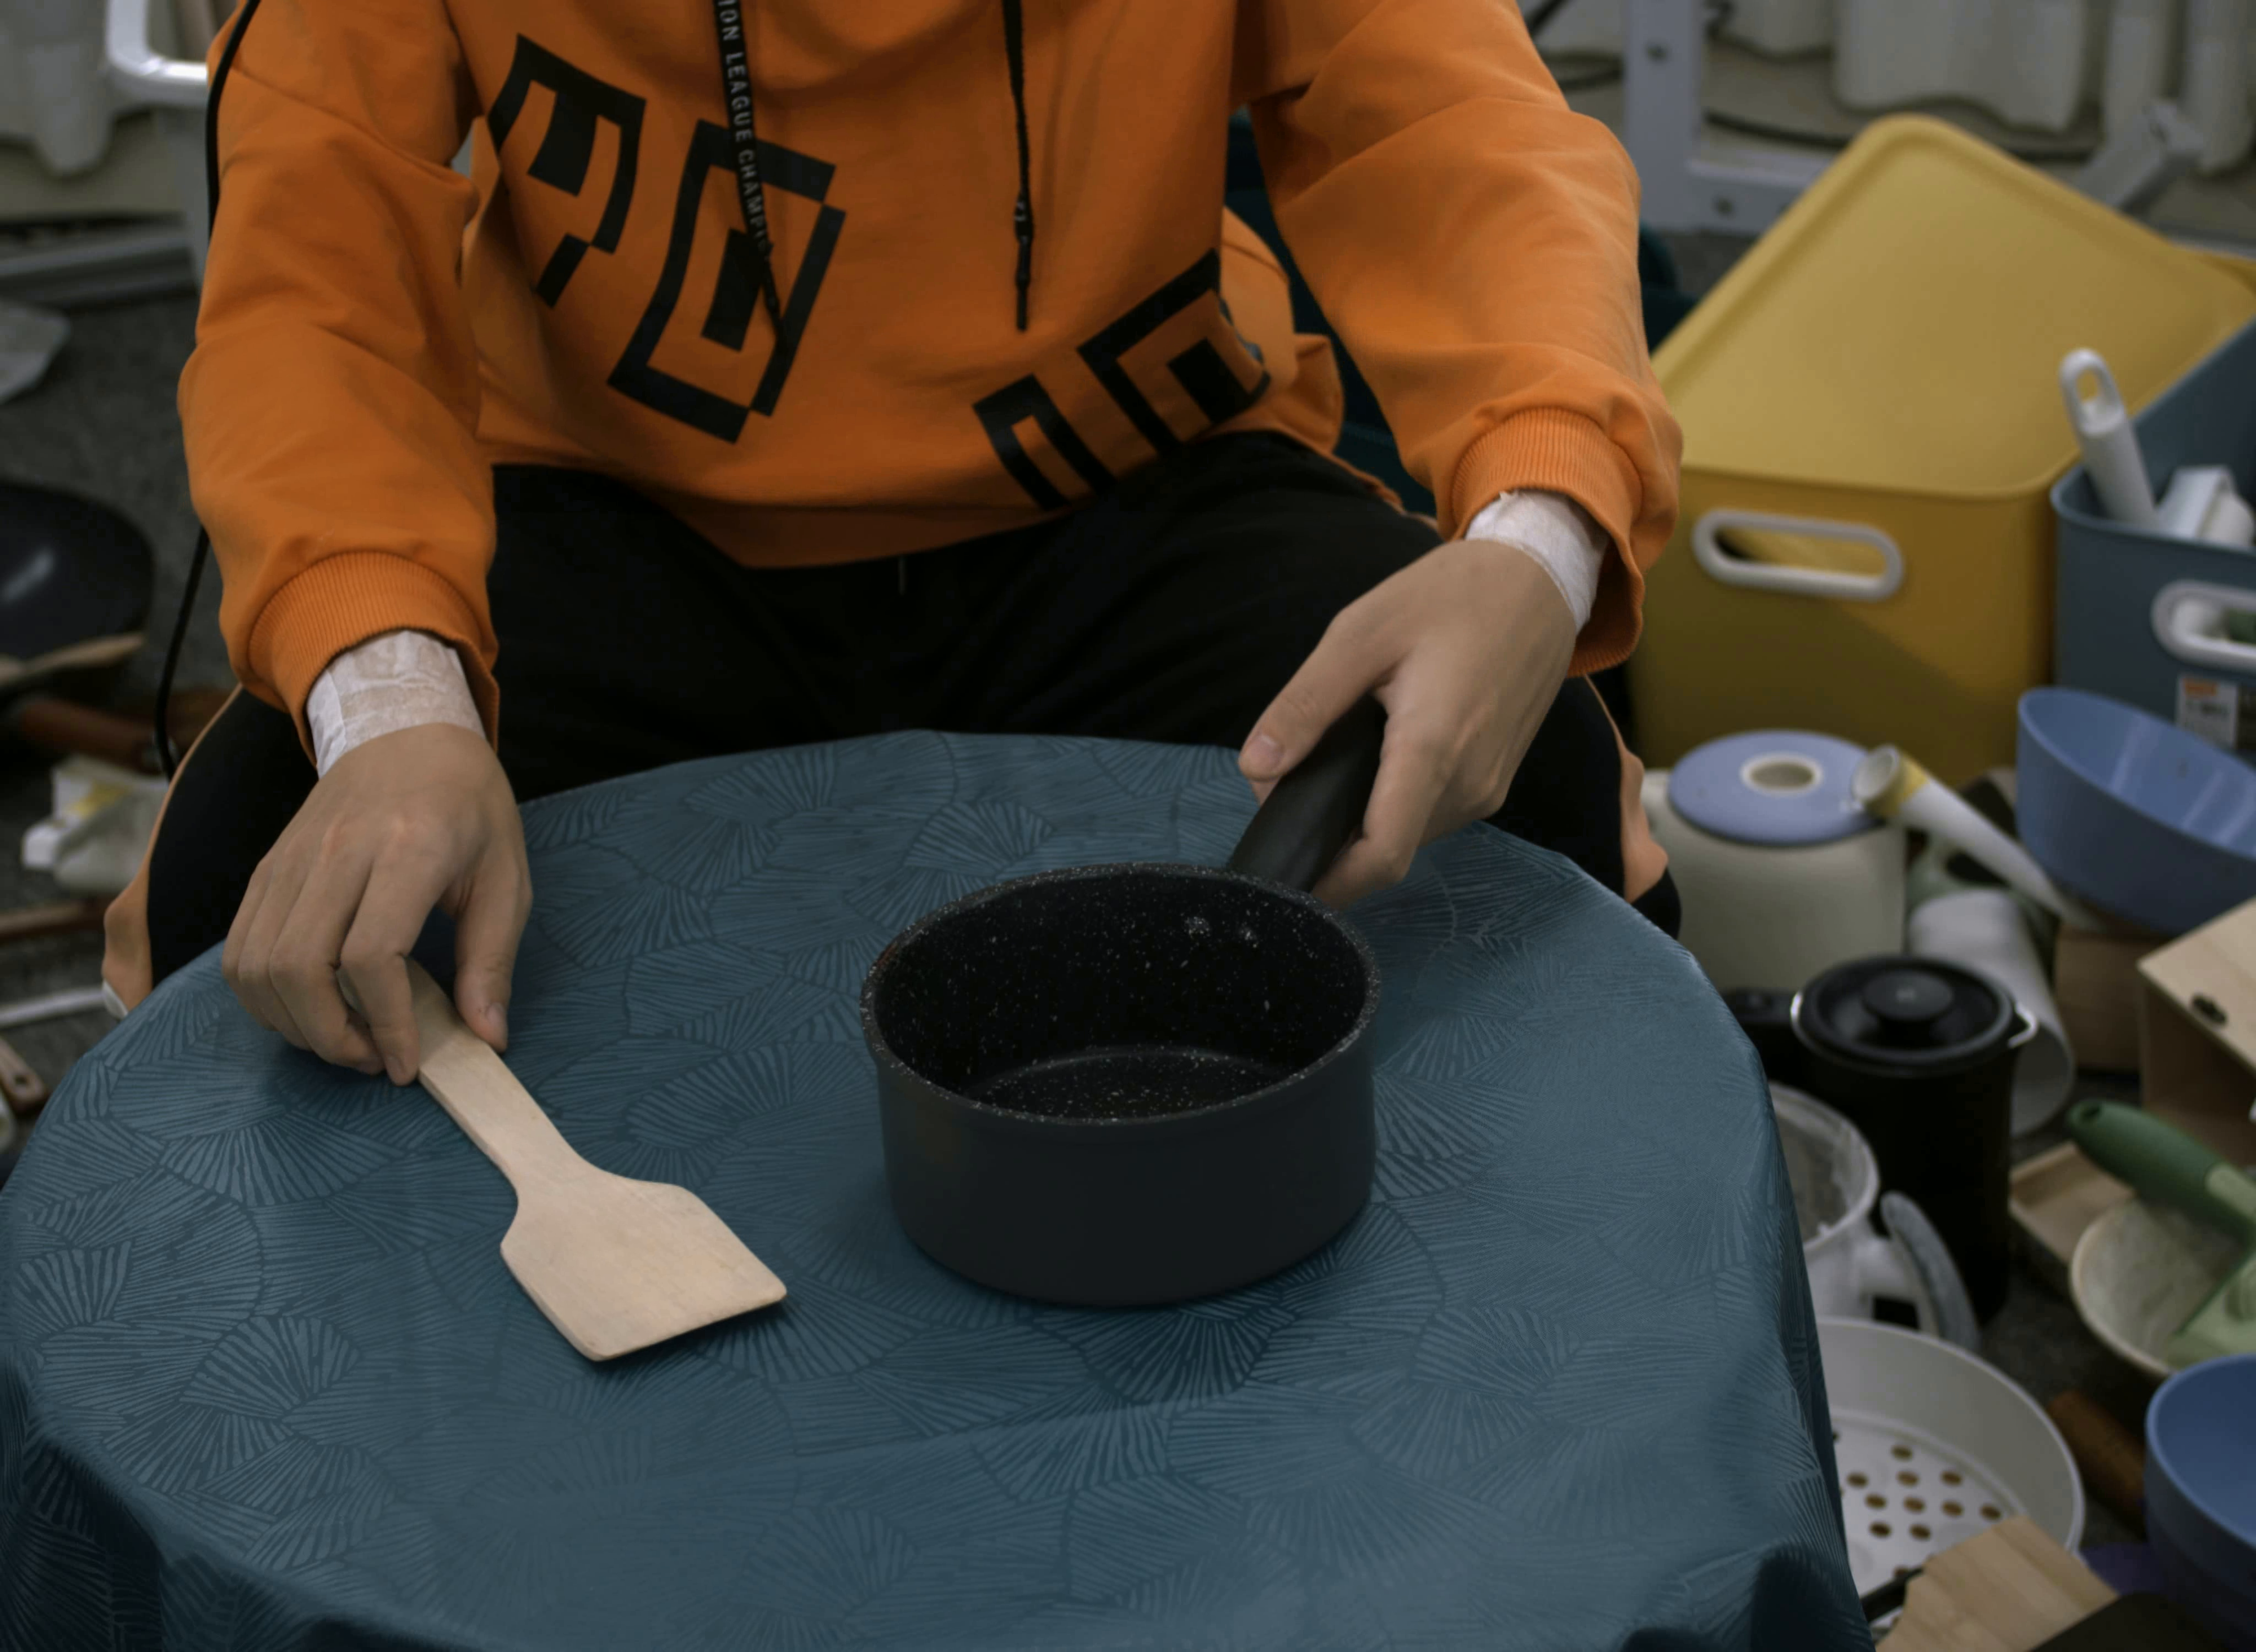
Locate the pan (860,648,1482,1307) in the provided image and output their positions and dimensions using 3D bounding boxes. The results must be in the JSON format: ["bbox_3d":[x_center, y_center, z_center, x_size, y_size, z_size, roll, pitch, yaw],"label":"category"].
[{"bbox_3d":[0.036,0.047,1.911,0.171,0.085,0.334,12,33,25],"label":"pan"}]

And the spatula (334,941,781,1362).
[{"bbox_3d":[-0.208,0.105,1.904,0.072,0.010,0.294,-19,32,-22],"label":"spatula"}]
